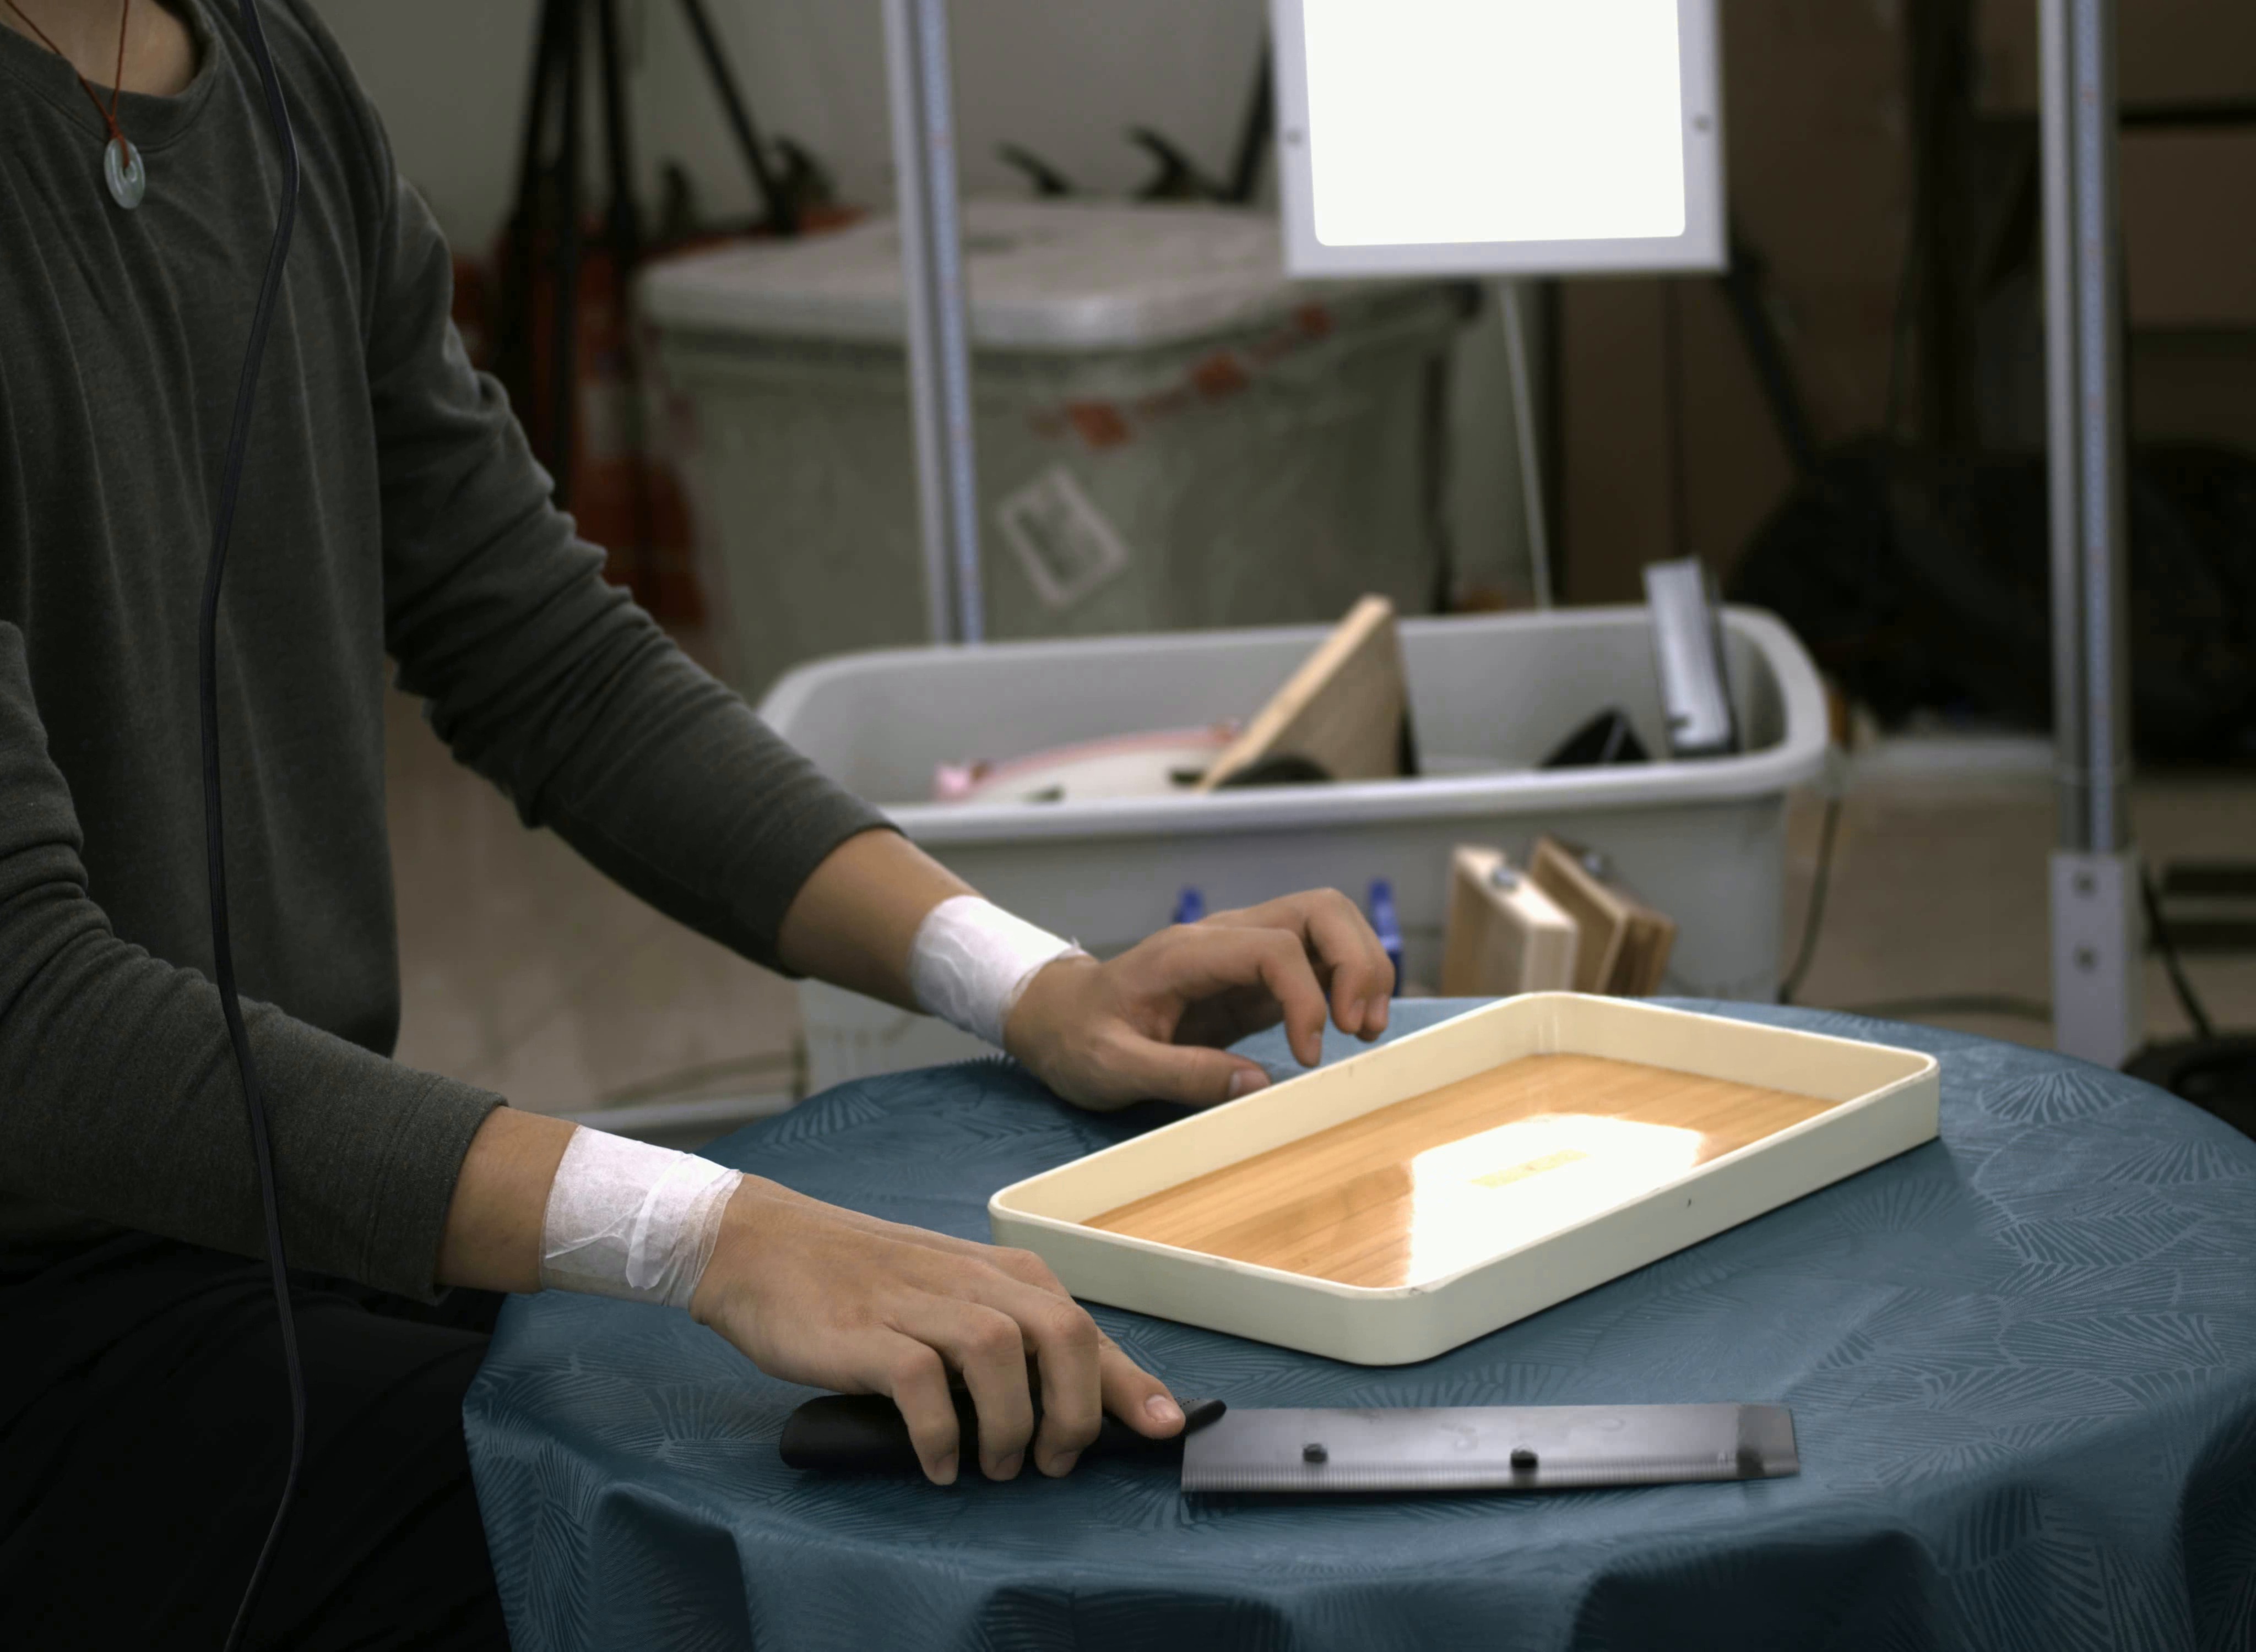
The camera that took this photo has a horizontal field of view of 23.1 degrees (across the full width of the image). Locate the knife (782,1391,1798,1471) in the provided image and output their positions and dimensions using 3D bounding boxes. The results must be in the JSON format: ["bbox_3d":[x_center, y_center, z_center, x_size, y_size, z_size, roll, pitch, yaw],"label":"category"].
[{"bbox_3d":[0.048,0.180,1.627,0.304,0.021,0.080,-1,8,10],"label":"knife"}]

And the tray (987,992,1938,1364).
[{"bbox_3d":[0.117,0.114,1.854,0.292,0.027,0.196,-18,18,-42],"label":"tray"}]
